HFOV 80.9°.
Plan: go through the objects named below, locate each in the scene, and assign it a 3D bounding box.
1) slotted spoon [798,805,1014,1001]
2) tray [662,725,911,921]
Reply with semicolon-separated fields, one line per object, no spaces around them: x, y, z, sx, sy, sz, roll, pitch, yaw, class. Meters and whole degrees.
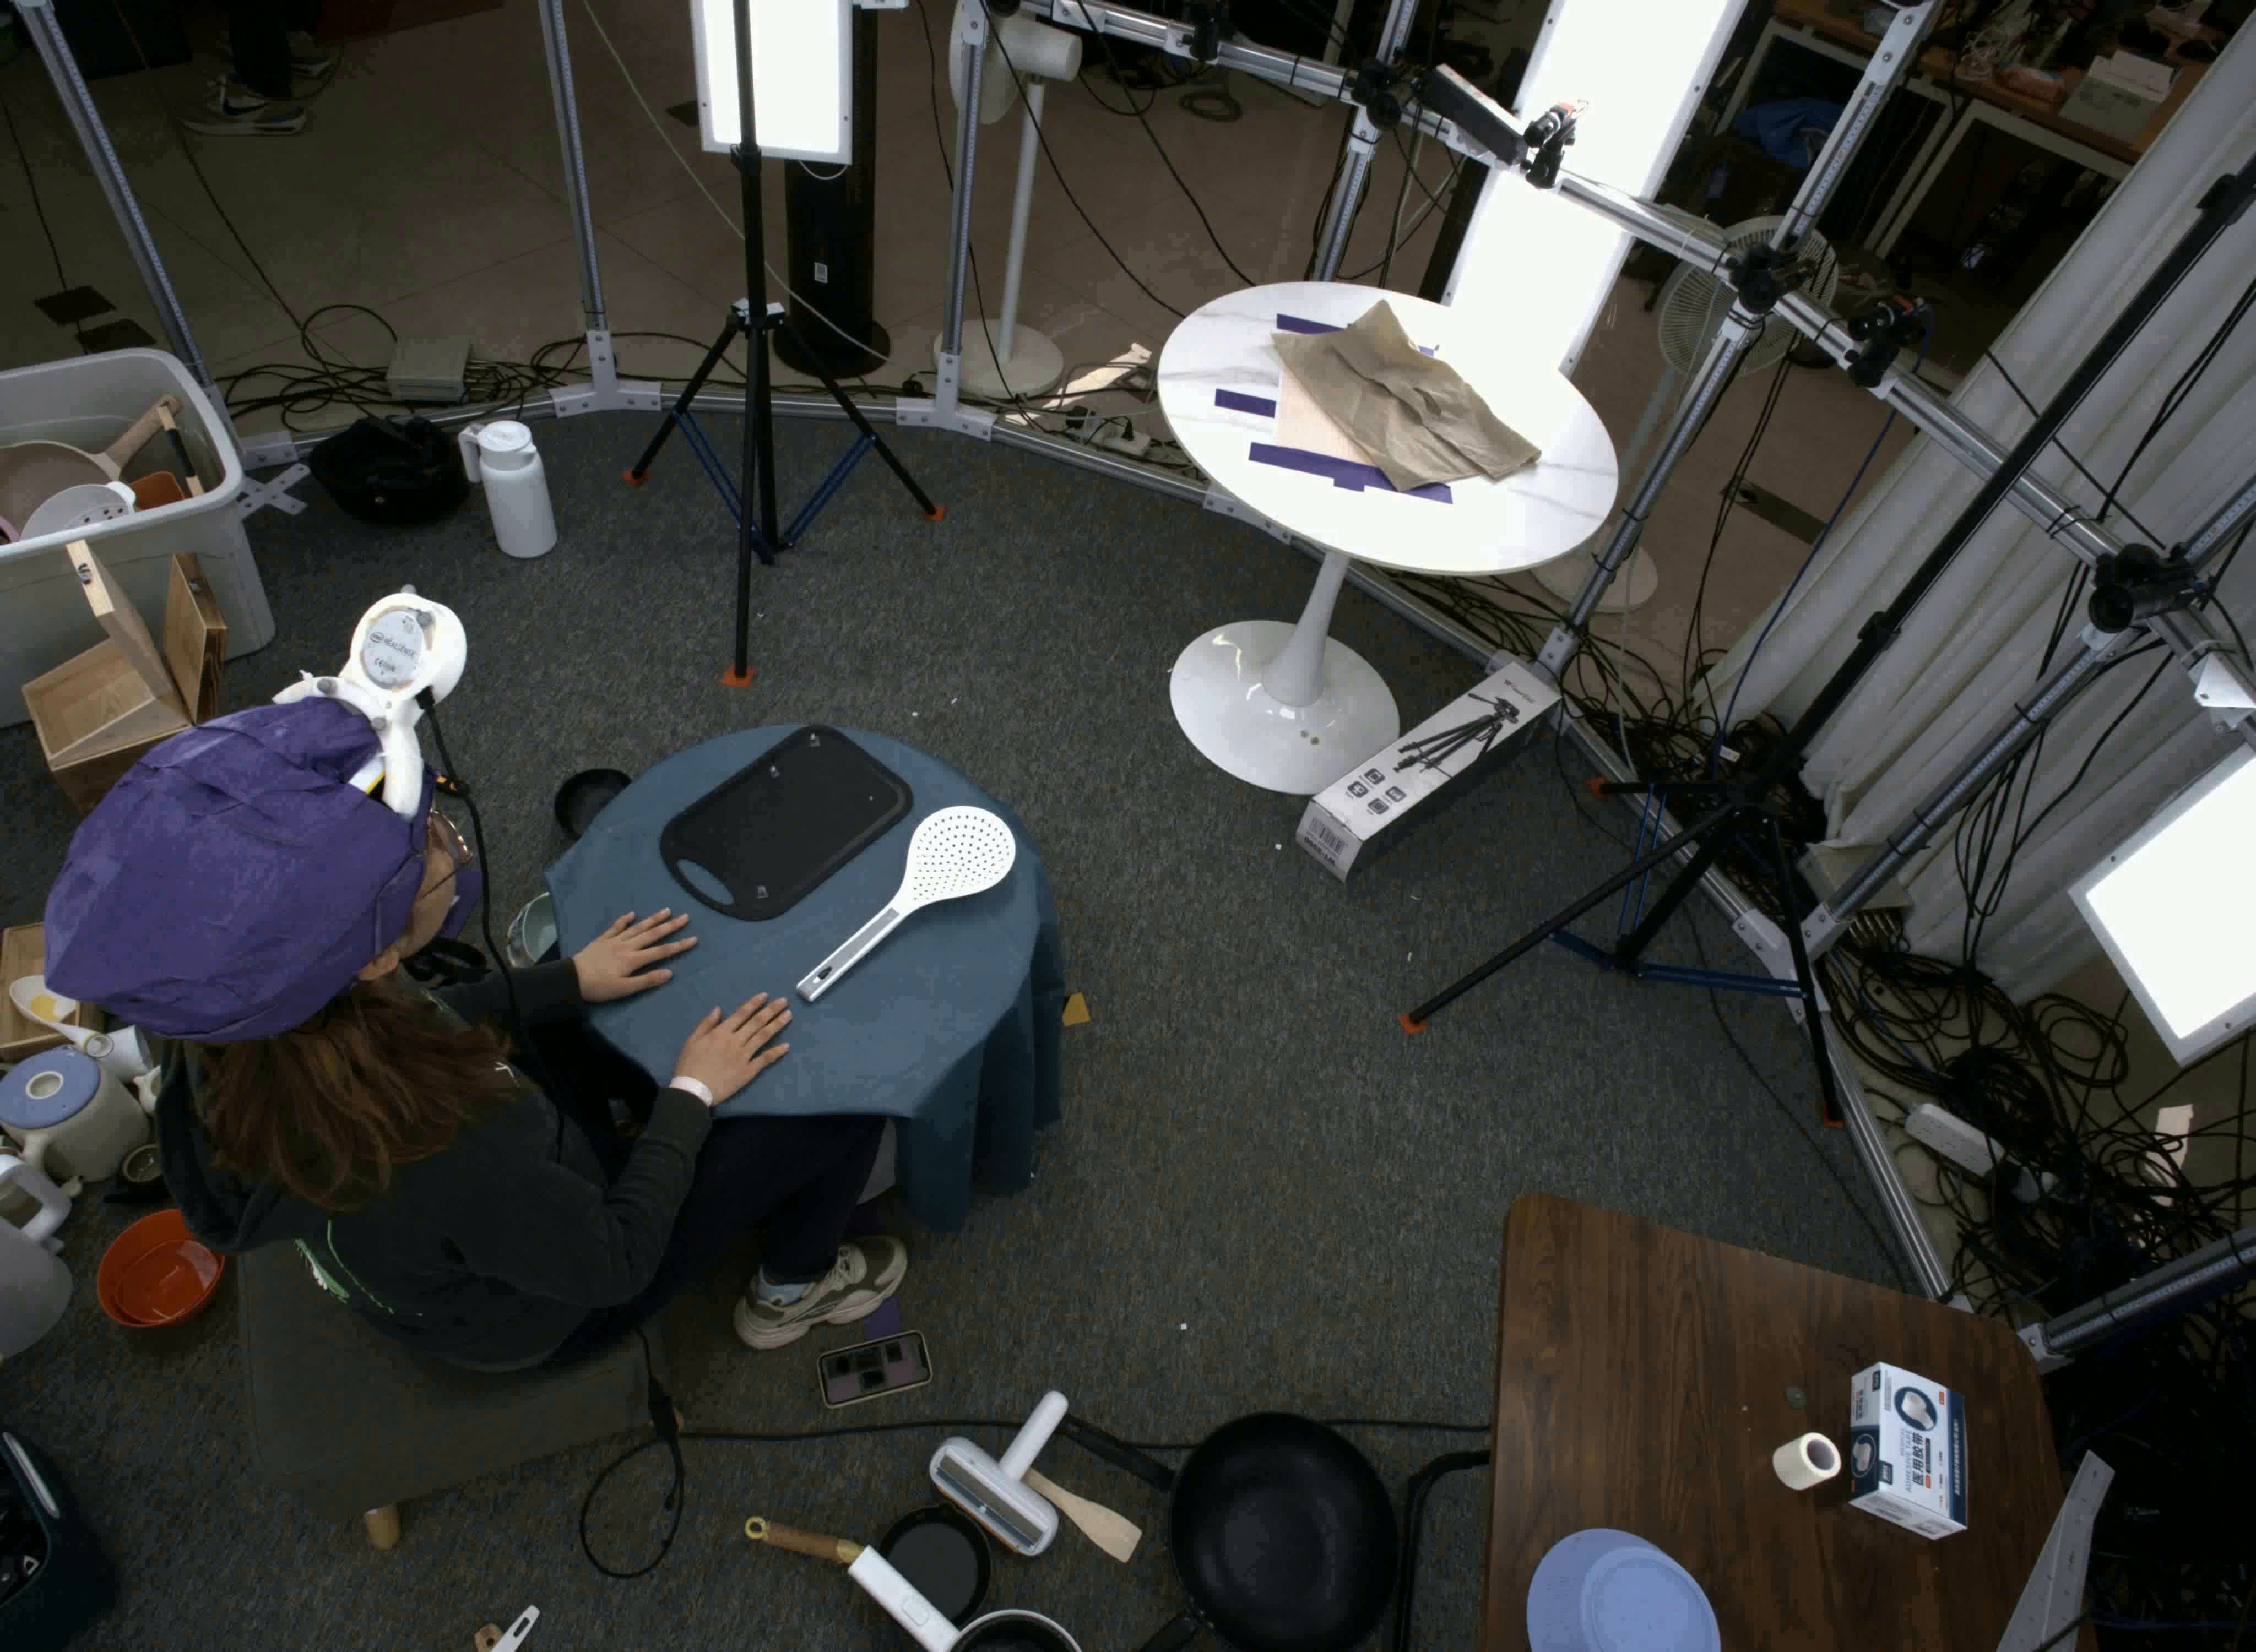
-0.285;0.098;1.663;0.133;0.047;0.350;36;54;16;slotted spoon
-0.455;-0.009;1.723;0.207;0.010;0.325;37;54;14;tray
